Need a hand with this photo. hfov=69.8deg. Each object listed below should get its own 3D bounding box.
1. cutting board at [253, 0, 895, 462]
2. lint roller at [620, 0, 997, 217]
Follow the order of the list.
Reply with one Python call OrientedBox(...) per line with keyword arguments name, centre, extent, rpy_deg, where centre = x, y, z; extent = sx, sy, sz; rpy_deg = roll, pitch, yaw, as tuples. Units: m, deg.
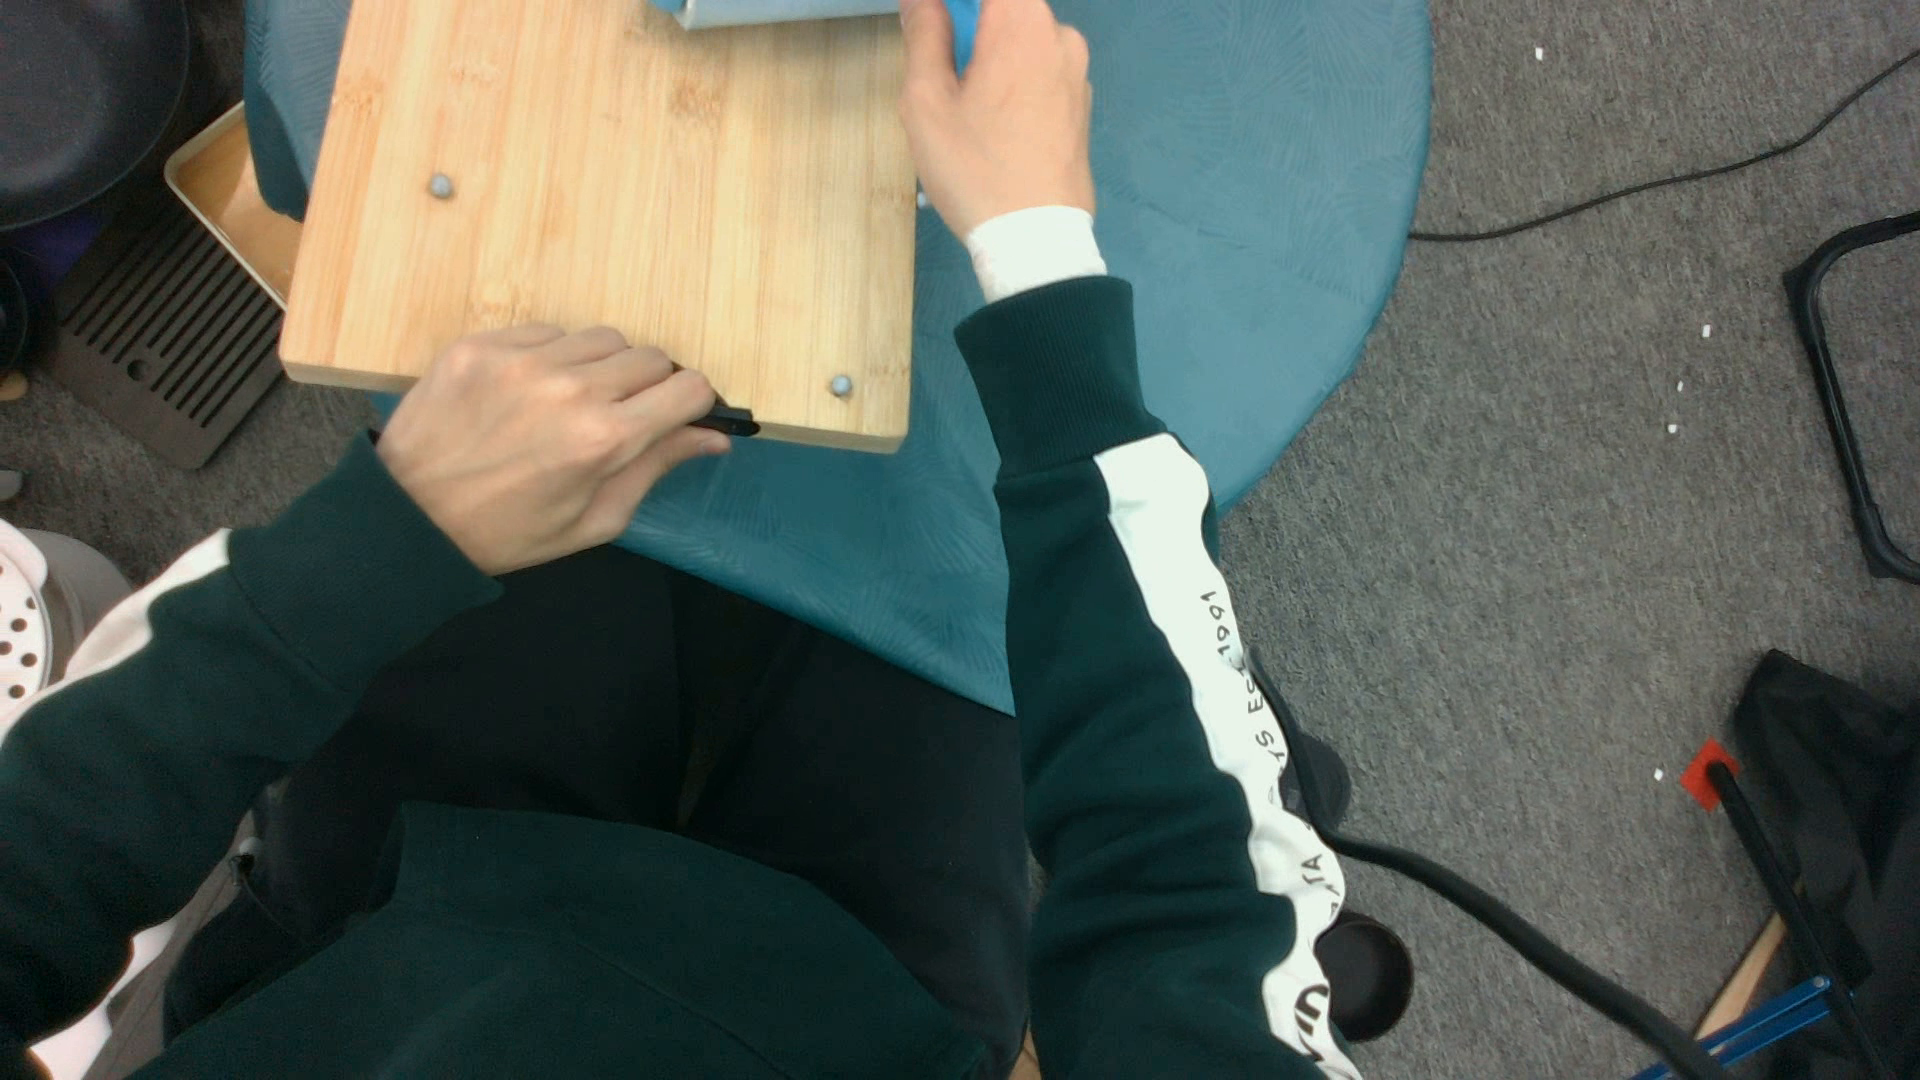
OrientedBox(name="cutting board", centre=(-0.149, -0.205, 0.608), extent=(0.251, 0.023, 0.349), rpy_deg=(3, 69, -15))
OrientedBox(name="lint roller", centre=(-0.023, -0.225, 0.595), extent=(0.229, 0.067, 0.180), rpy_deg=(-17, 61, -23))
